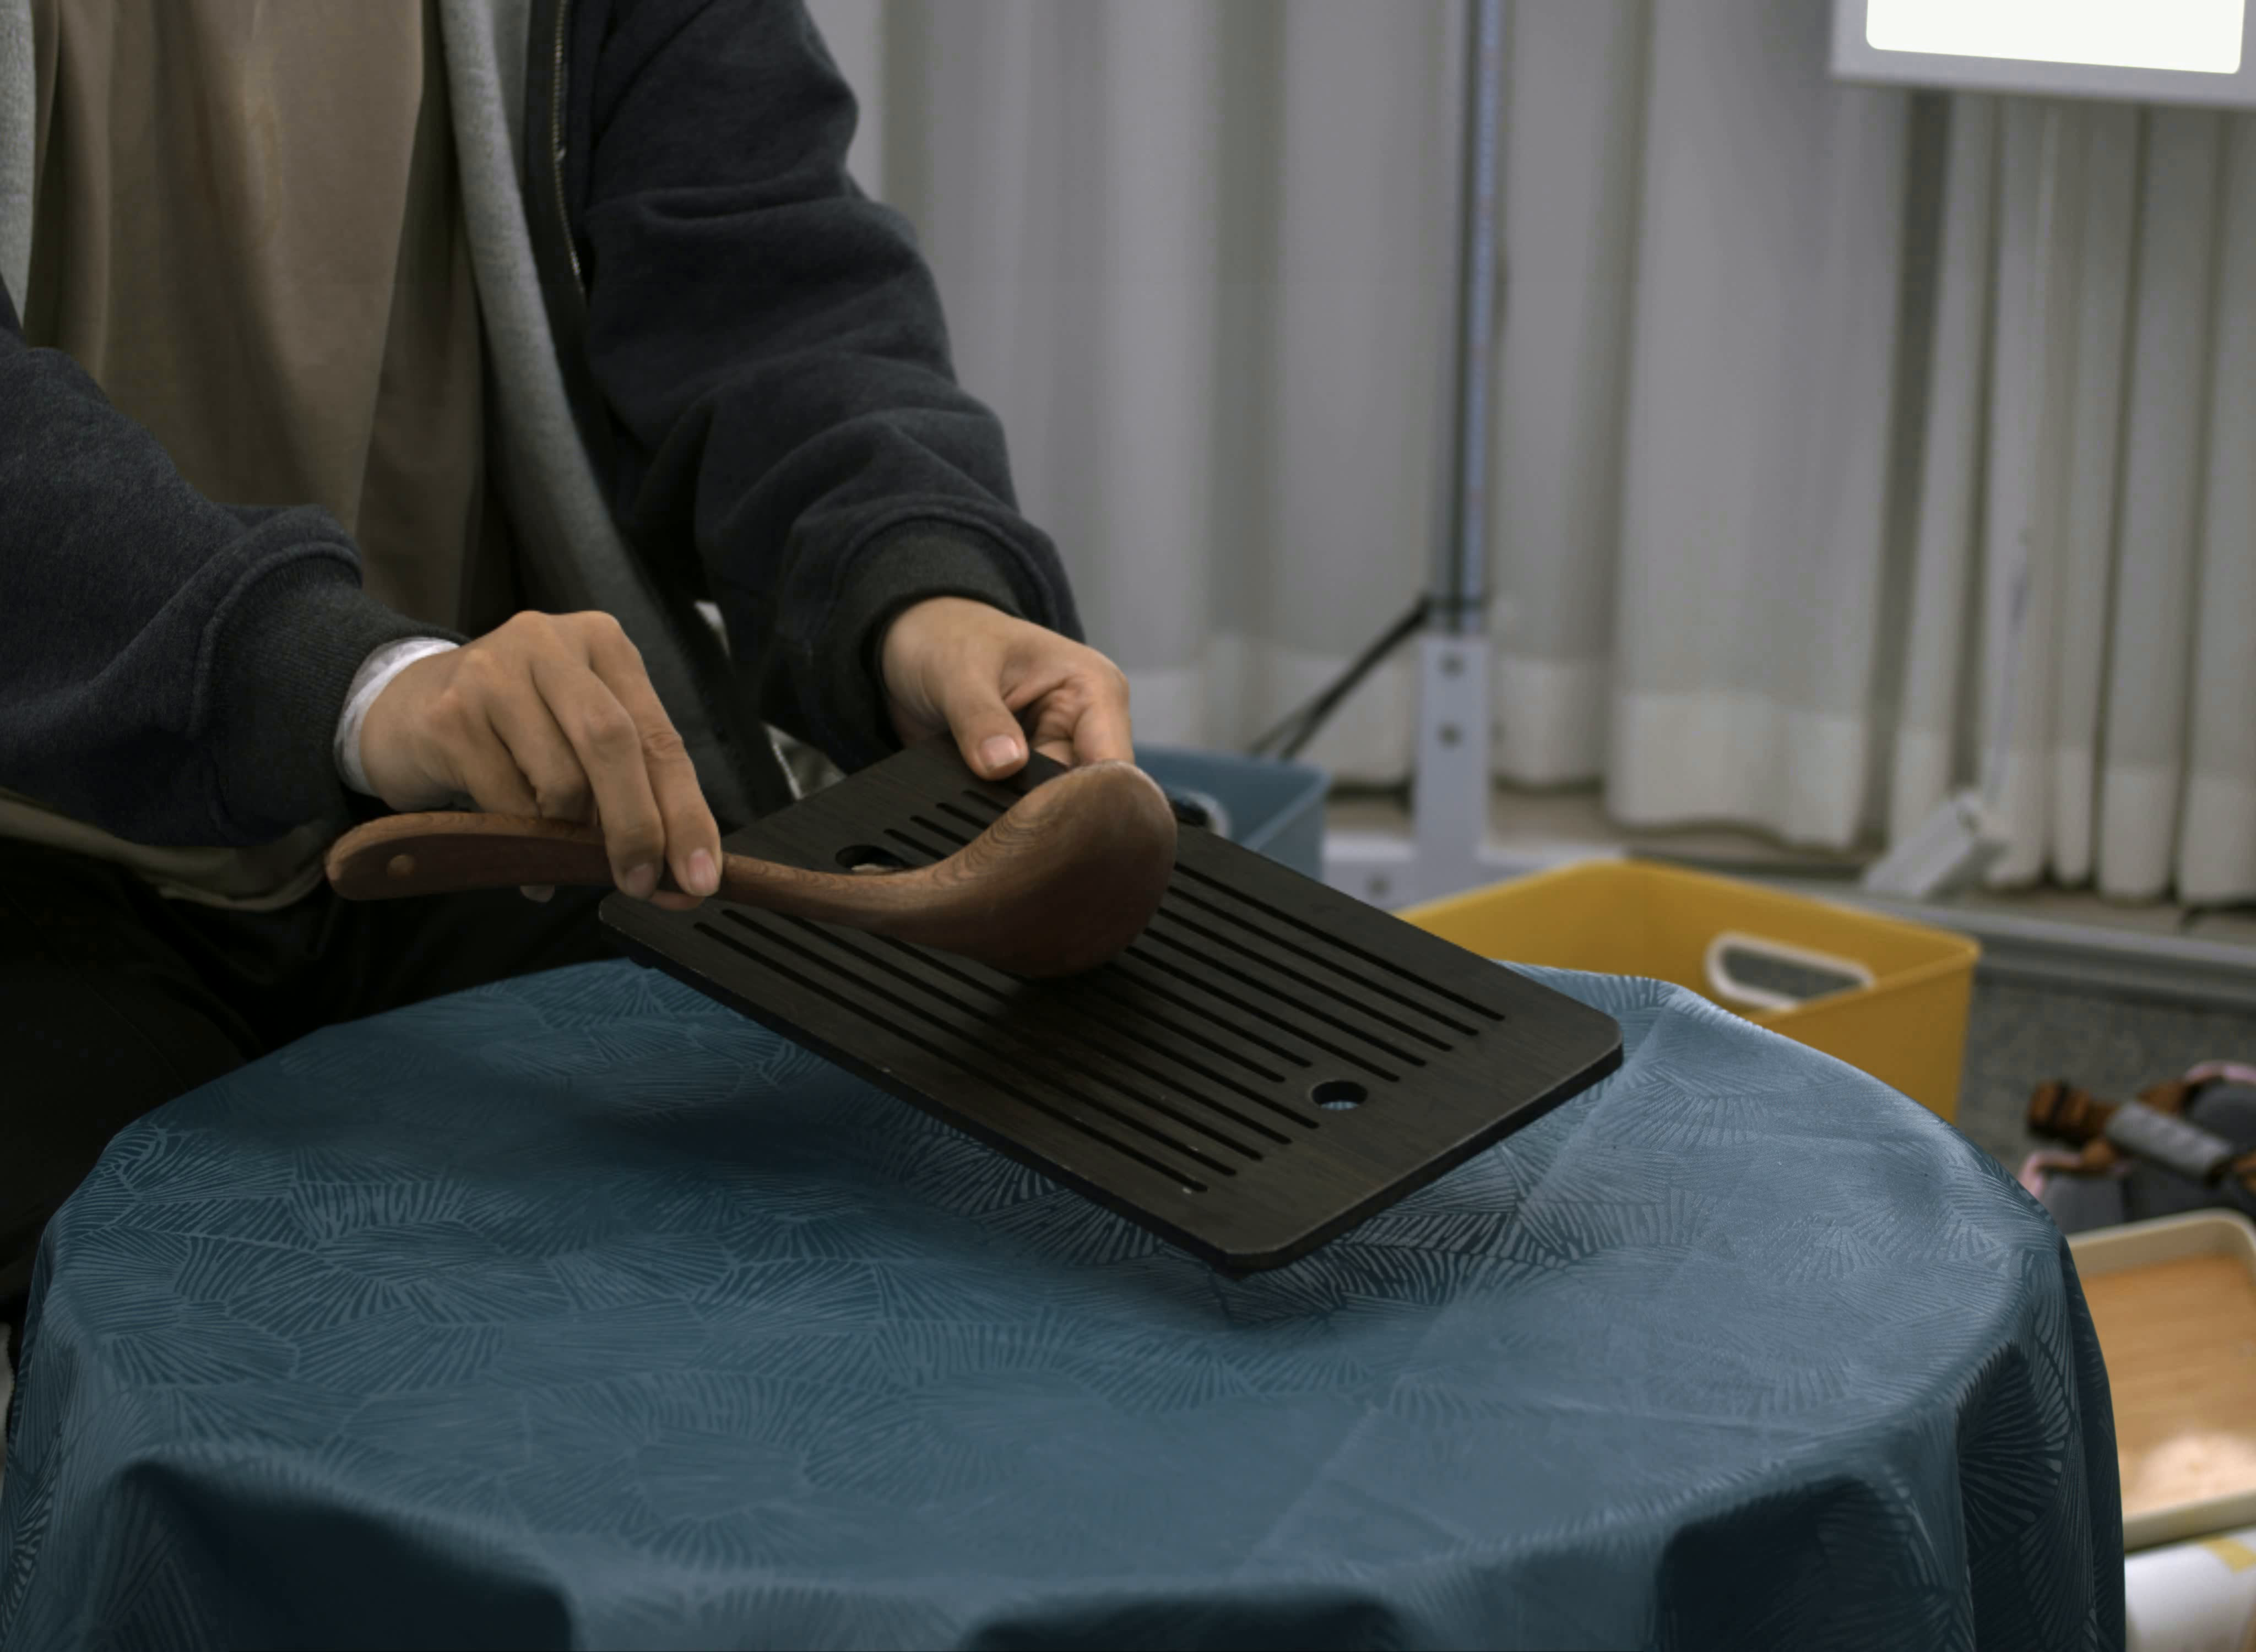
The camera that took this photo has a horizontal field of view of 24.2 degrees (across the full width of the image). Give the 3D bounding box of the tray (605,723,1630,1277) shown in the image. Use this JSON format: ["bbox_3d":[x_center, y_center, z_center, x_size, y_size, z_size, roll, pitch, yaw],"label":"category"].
[{"bbox_3d":[-0.008,0.050,1.639,0.170,0.019,0.301,-27,38,-36],"label":"tray"}]

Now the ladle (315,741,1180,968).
[{"bbox_3d":[-0.114,0.005,1.602,0.259,0.077,0.064,4,36,-3],"label":"ladle"}]
